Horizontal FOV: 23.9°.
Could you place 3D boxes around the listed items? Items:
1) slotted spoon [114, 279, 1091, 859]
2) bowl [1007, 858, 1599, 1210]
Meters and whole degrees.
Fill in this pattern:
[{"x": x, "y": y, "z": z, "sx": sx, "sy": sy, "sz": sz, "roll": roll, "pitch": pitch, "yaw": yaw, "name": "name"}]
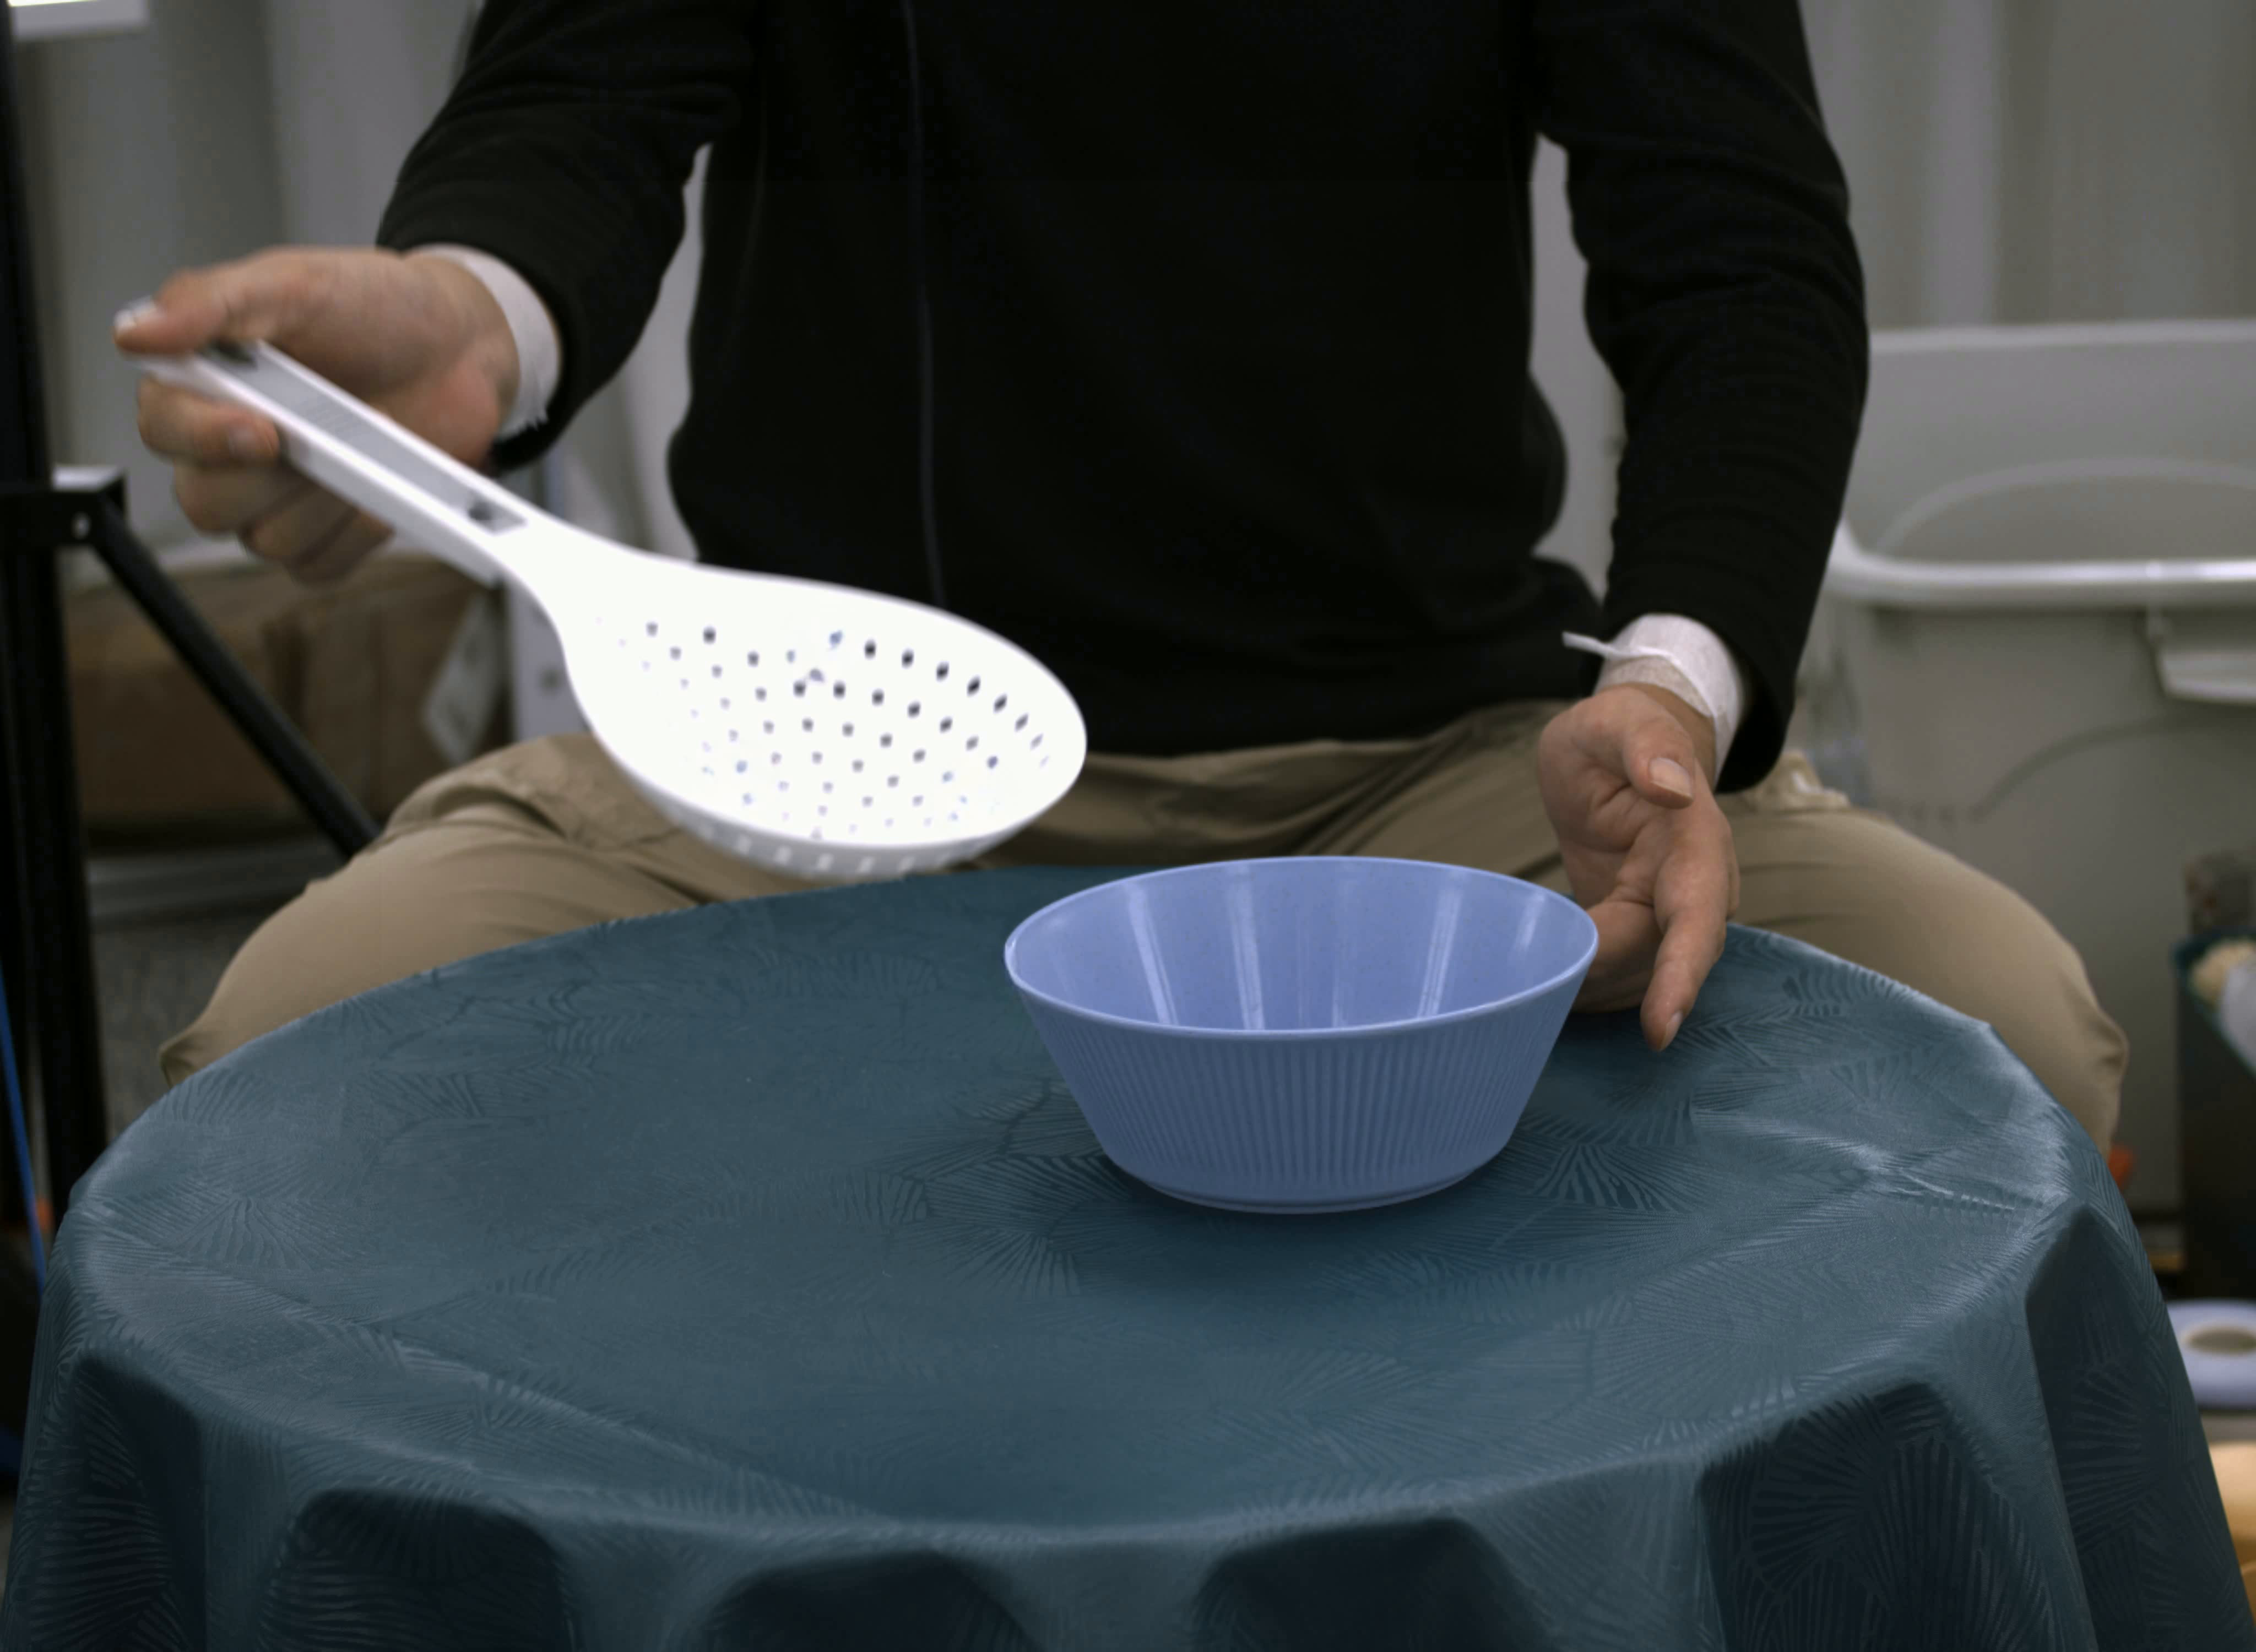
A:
[{"x": -0.159, "y": -0.077, "z": 1.489, "sx": 0.356, "sy": 0.046, "sz": 0.133, "roll": 34, "pitch": 39, "yaw": 29, "name": "slotted spoon"}, {"x": 0.052, "y": 0.064, "z": 1.573, "sx": 0.175, "sy": 0.070, "sz": 0.177, "roll": -2, "pitch": 15, "yaw": -1, "name": "bowl"}]
